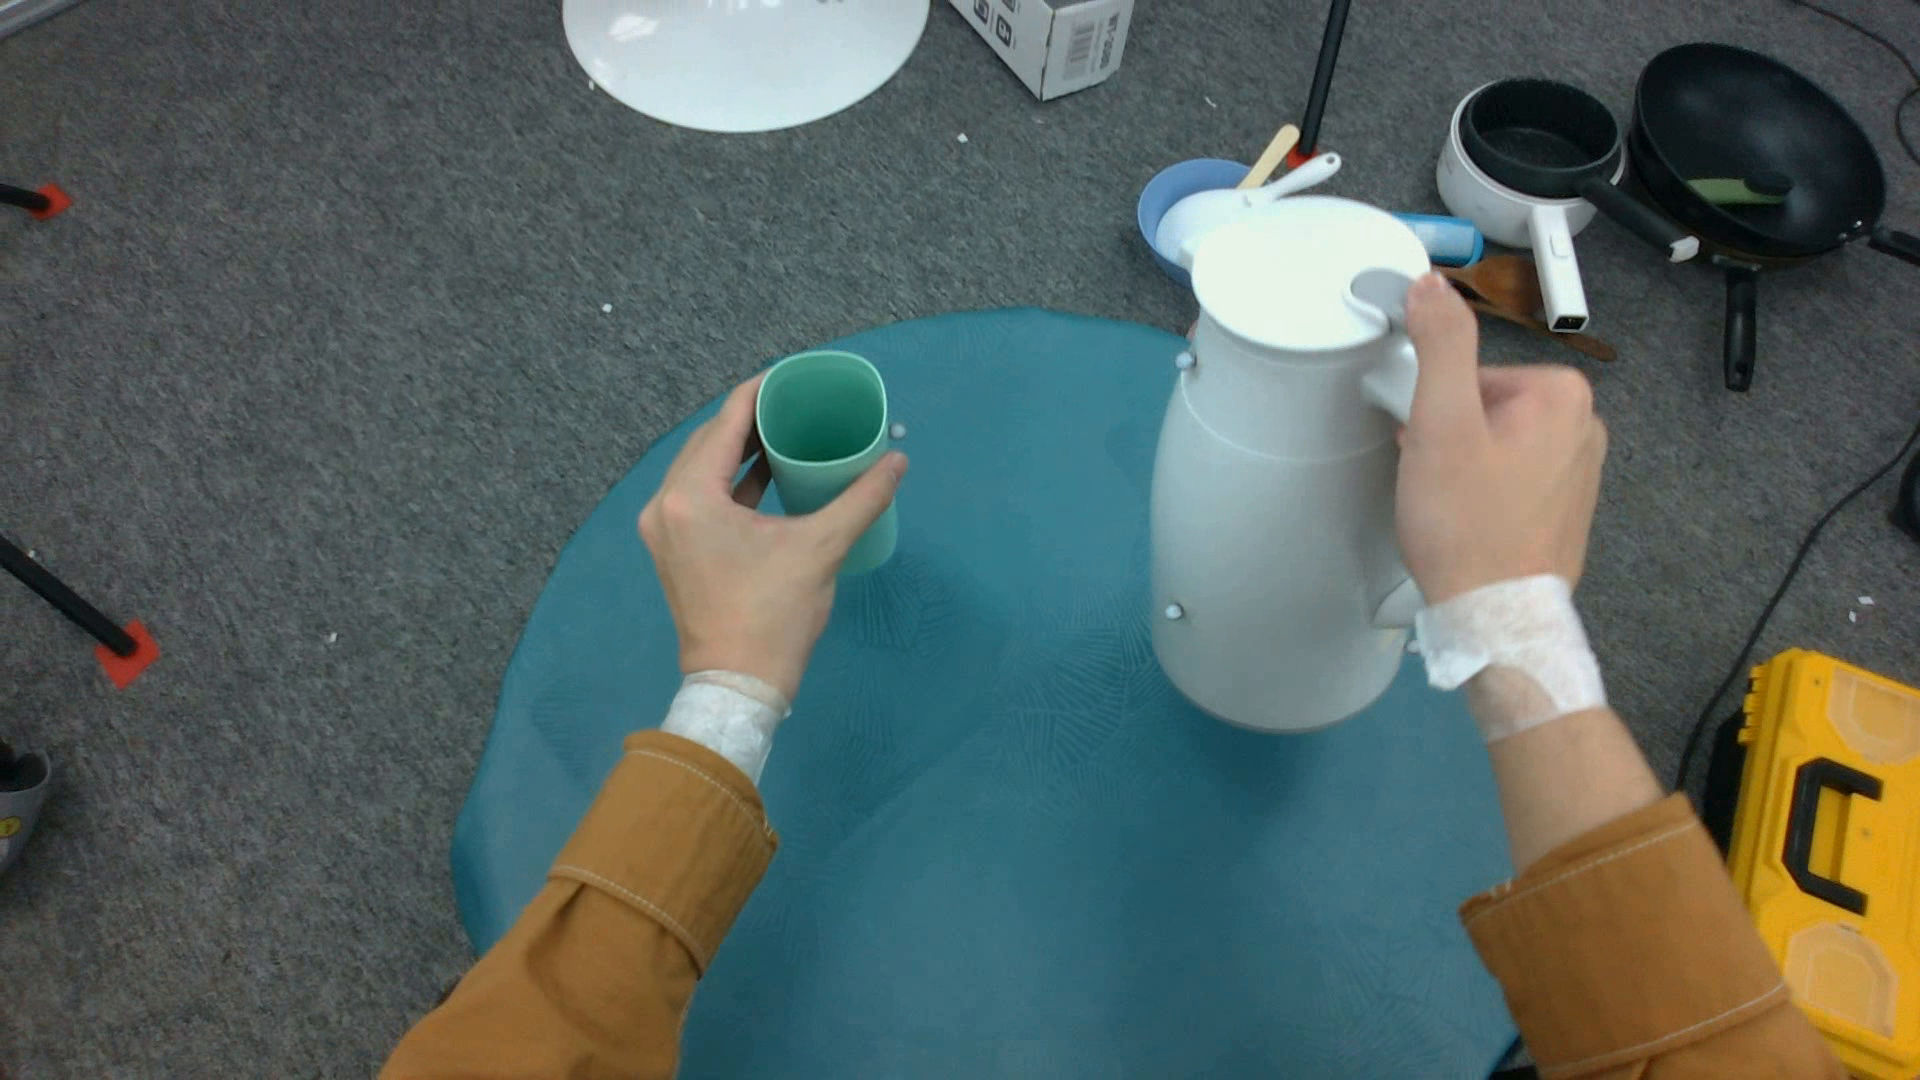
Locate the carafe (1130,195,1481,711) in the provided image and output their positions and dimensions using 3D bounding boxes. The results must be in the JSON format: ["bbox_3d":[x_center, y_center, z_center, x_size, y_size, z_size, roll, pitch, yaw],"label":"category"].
[{"bbox_3d":[0.159,-0.029,0.637,0.133,0.247,0.168,-36,57,-20],"label":"carafe"}]

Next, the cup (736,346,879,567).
[{"bbox_3d":[-0.077,-0.039,0.724,0.067,0.132,0.067,0,64,0],"label":"cup"}]
